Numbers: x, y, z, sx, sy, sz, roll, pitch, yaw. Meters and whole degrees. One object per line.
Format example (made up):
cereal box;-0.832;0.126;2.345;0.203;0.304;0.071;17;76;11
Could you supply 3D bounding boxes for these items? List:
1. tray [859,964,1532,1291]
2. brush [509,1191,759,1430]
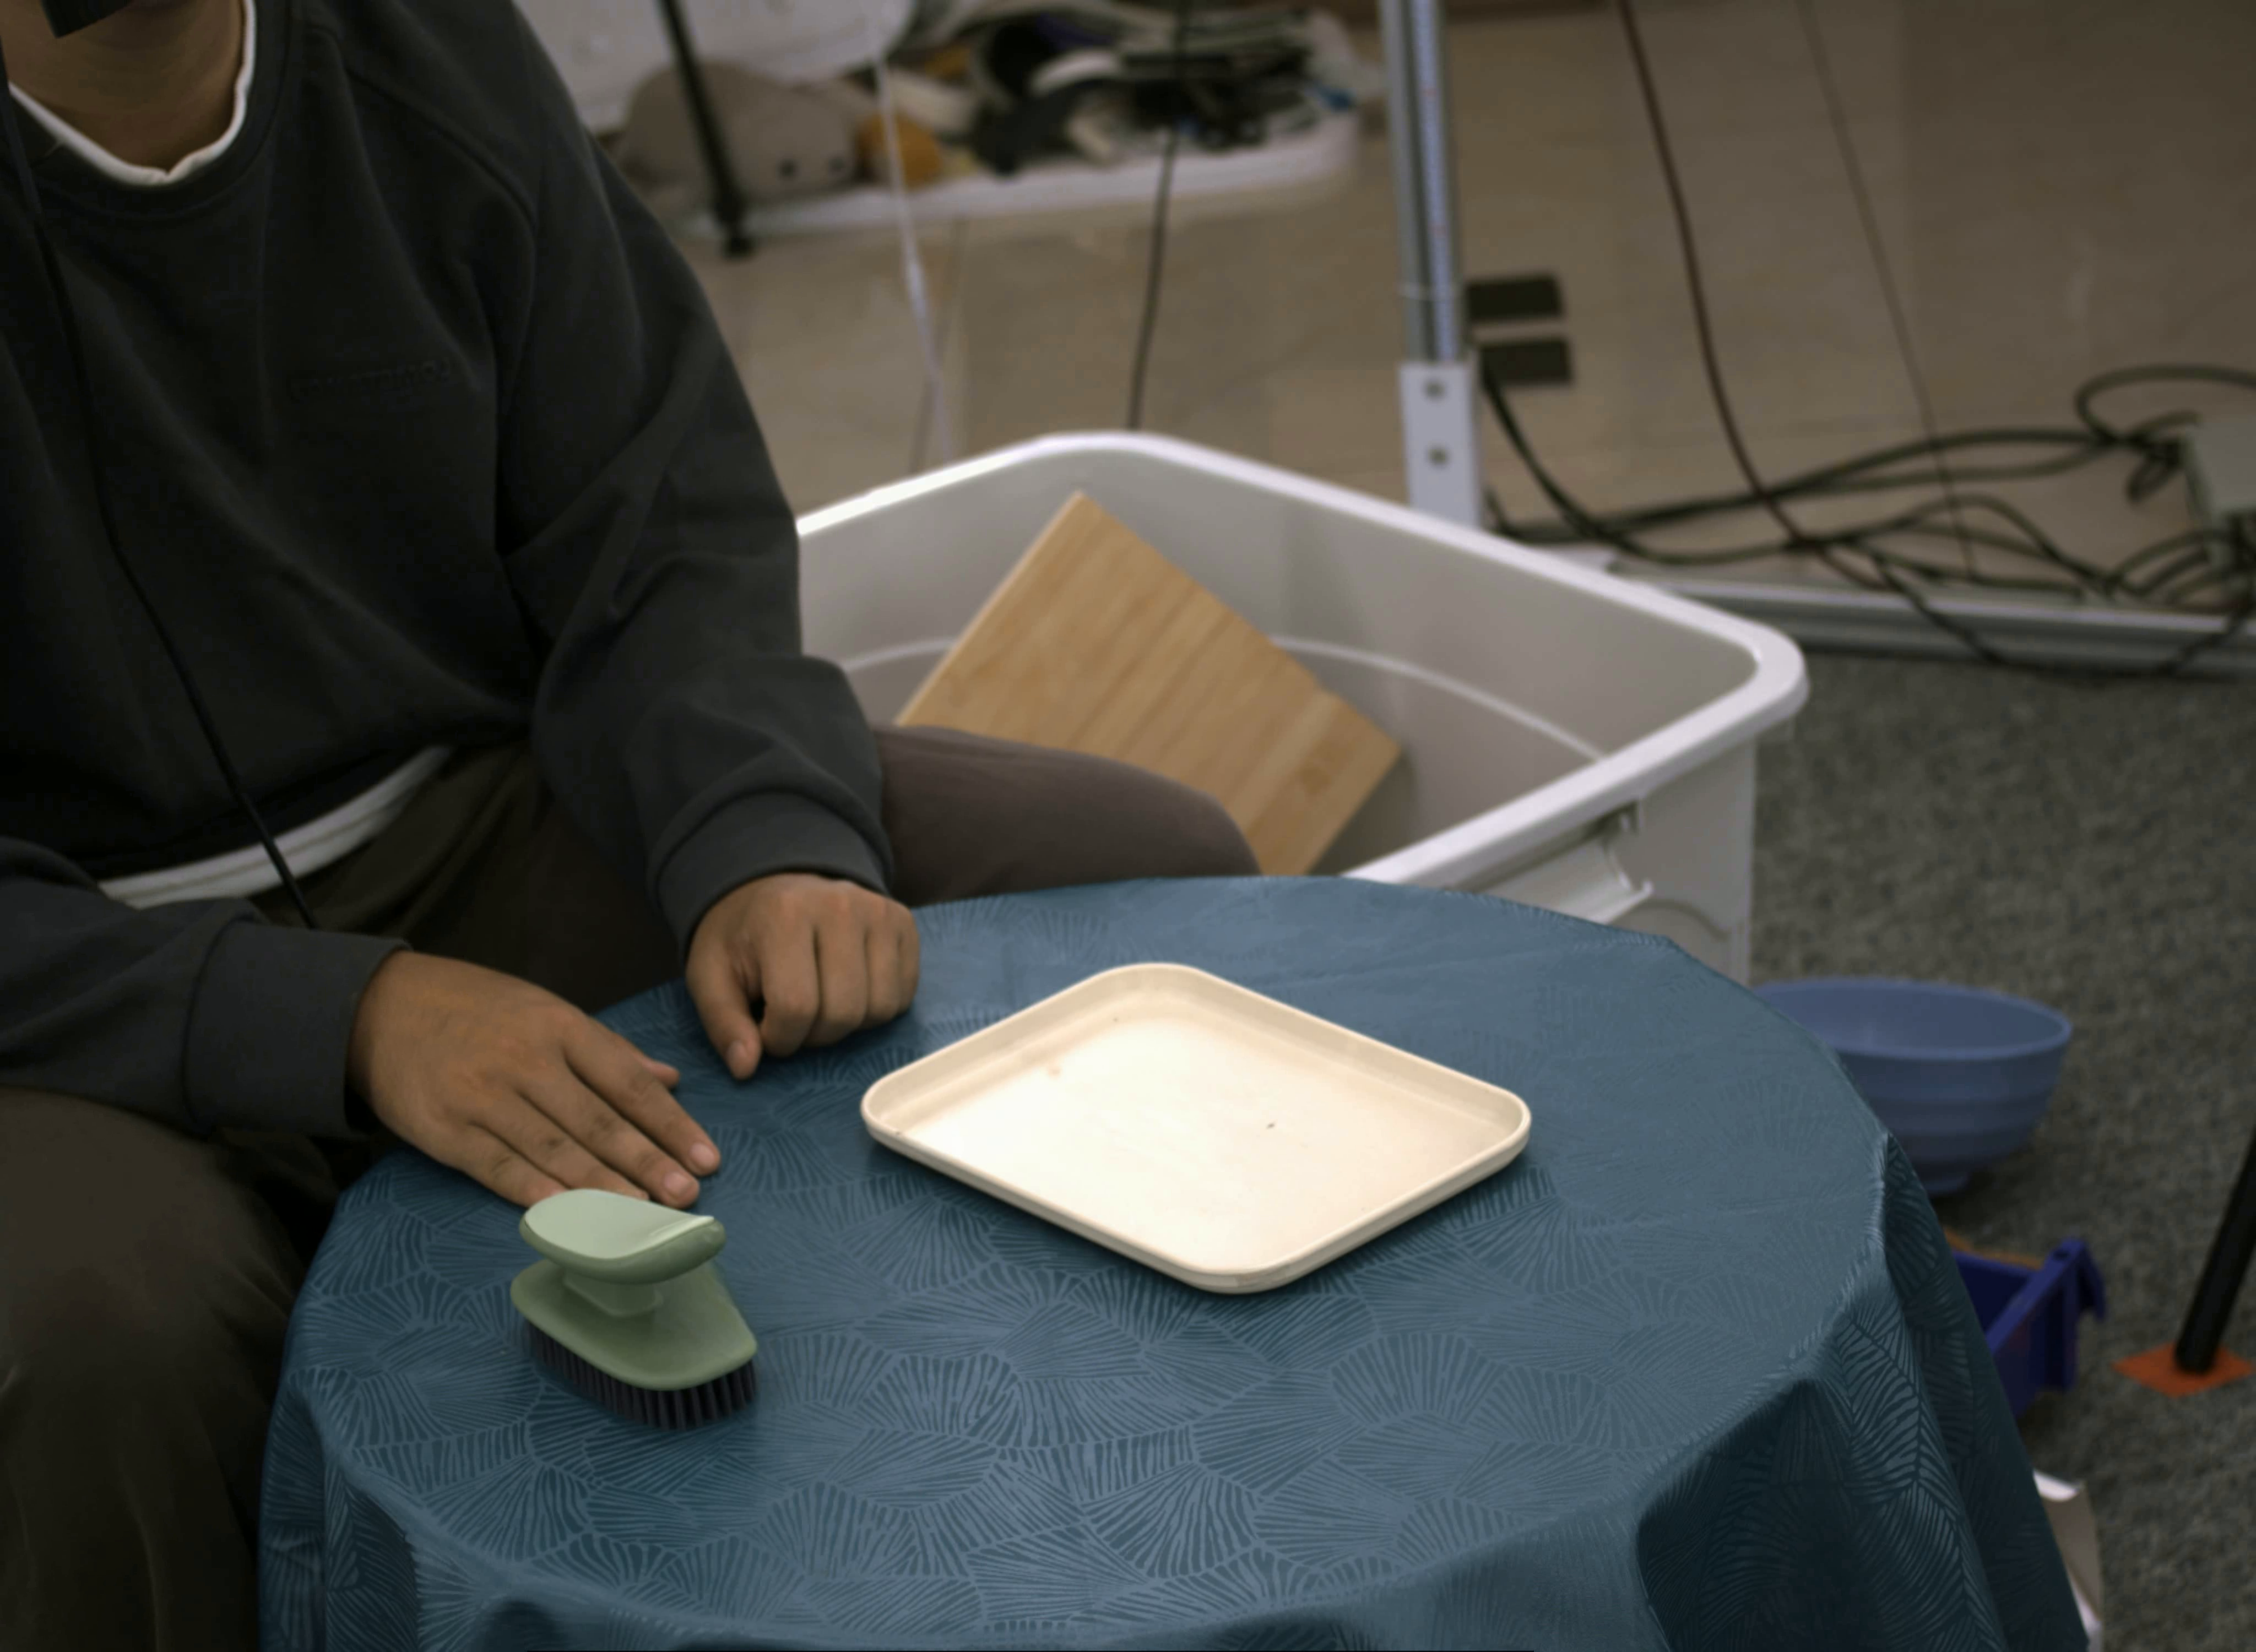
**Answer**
tray;0.024;0.115;2.173;0.170;0.018;0.237;-24;30;-35
brush;-0.179;0.173;2.054;0.059;0.076;0.122;-22;15;-31
